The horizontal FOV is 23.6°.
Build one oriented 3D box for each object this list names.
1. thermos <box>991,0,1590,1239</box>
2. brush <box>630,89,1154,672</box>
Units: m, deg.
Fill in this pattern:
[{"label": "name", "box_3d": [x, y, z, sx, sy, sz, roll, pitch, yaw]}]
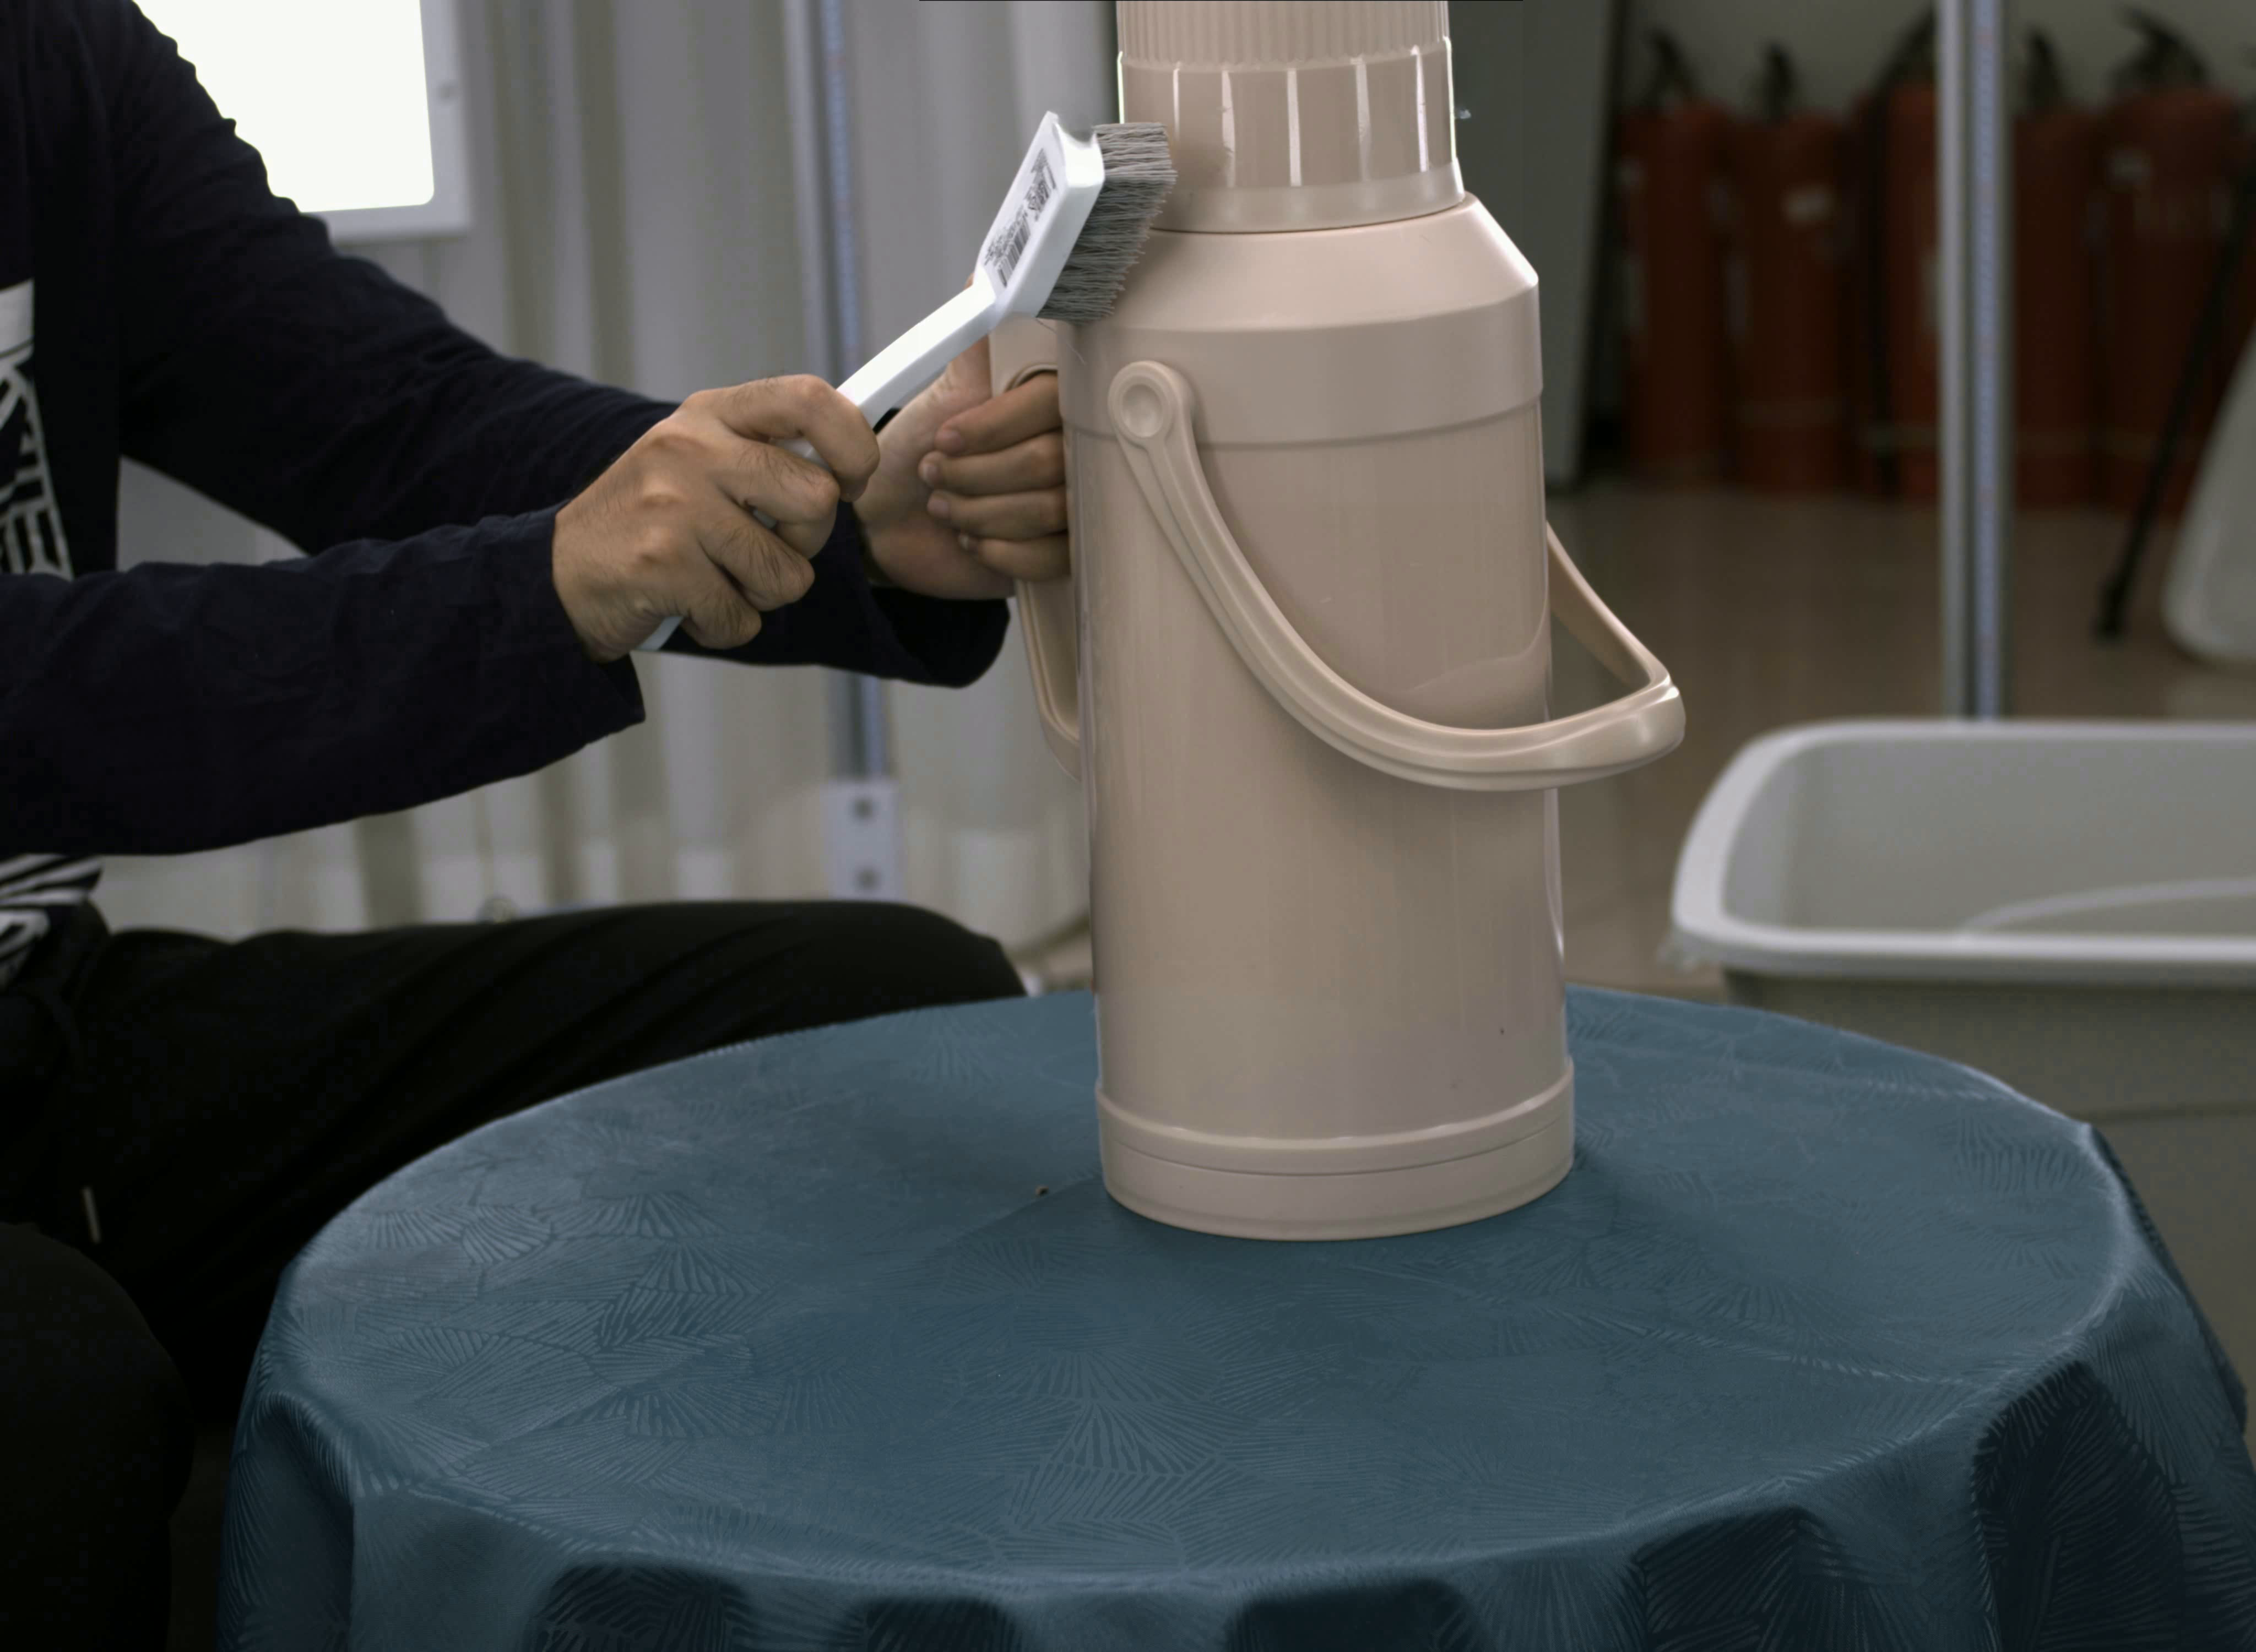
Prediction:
[{"label": "thermos", "box_3d": [0.049, -0.082, 1.751, 0.208, 0.410, 0.172, 6, 18, 35]}, {"label": "brush", "box_3d": [-0.073, -0.133, 1.696, 0.049, 0.246, 0.035, 18, 32, -40]}]
